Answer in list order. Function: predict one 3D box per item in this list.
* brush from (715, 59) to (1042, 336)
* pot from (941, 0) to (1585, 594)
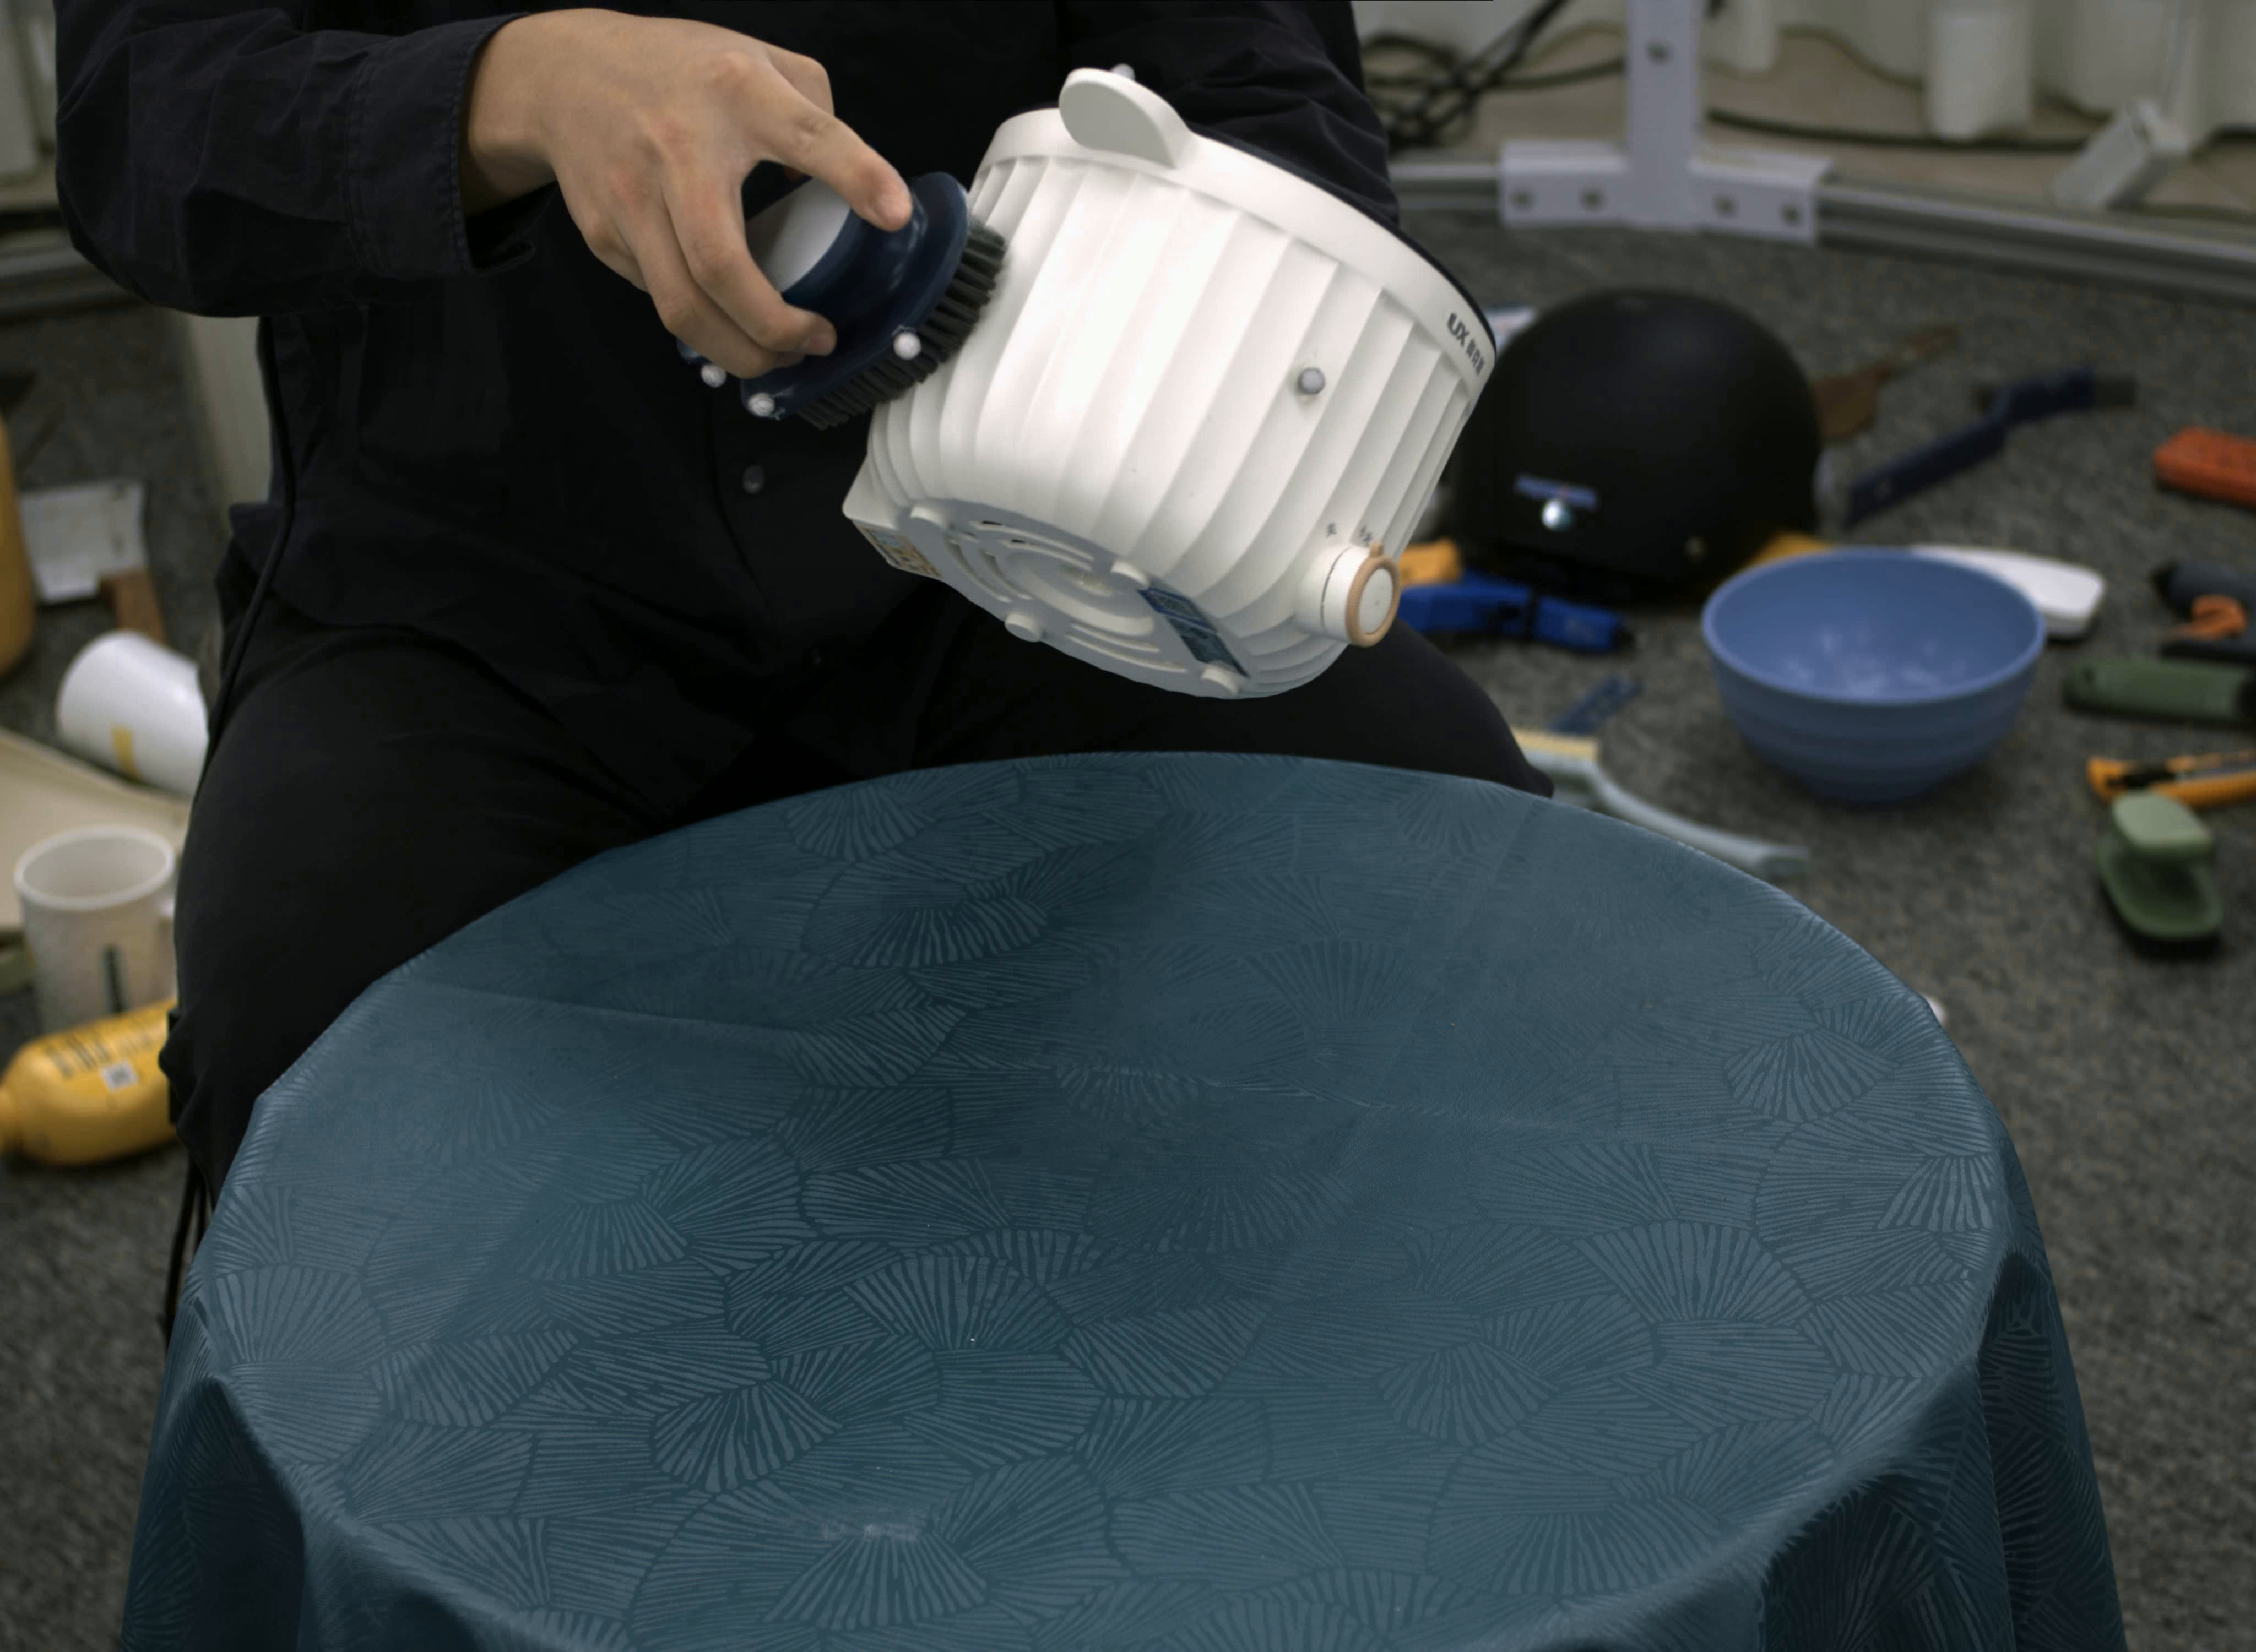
[{"bbox_3d":[-0.079,-0.200,1.819,0.120,0.061,0.069,-19,51,49],"label":"brush"},{"bbox_3d":[0.047,-0.165,1.859,0.189,0.238,0.144,14,72,28],"label":"pot"}]
